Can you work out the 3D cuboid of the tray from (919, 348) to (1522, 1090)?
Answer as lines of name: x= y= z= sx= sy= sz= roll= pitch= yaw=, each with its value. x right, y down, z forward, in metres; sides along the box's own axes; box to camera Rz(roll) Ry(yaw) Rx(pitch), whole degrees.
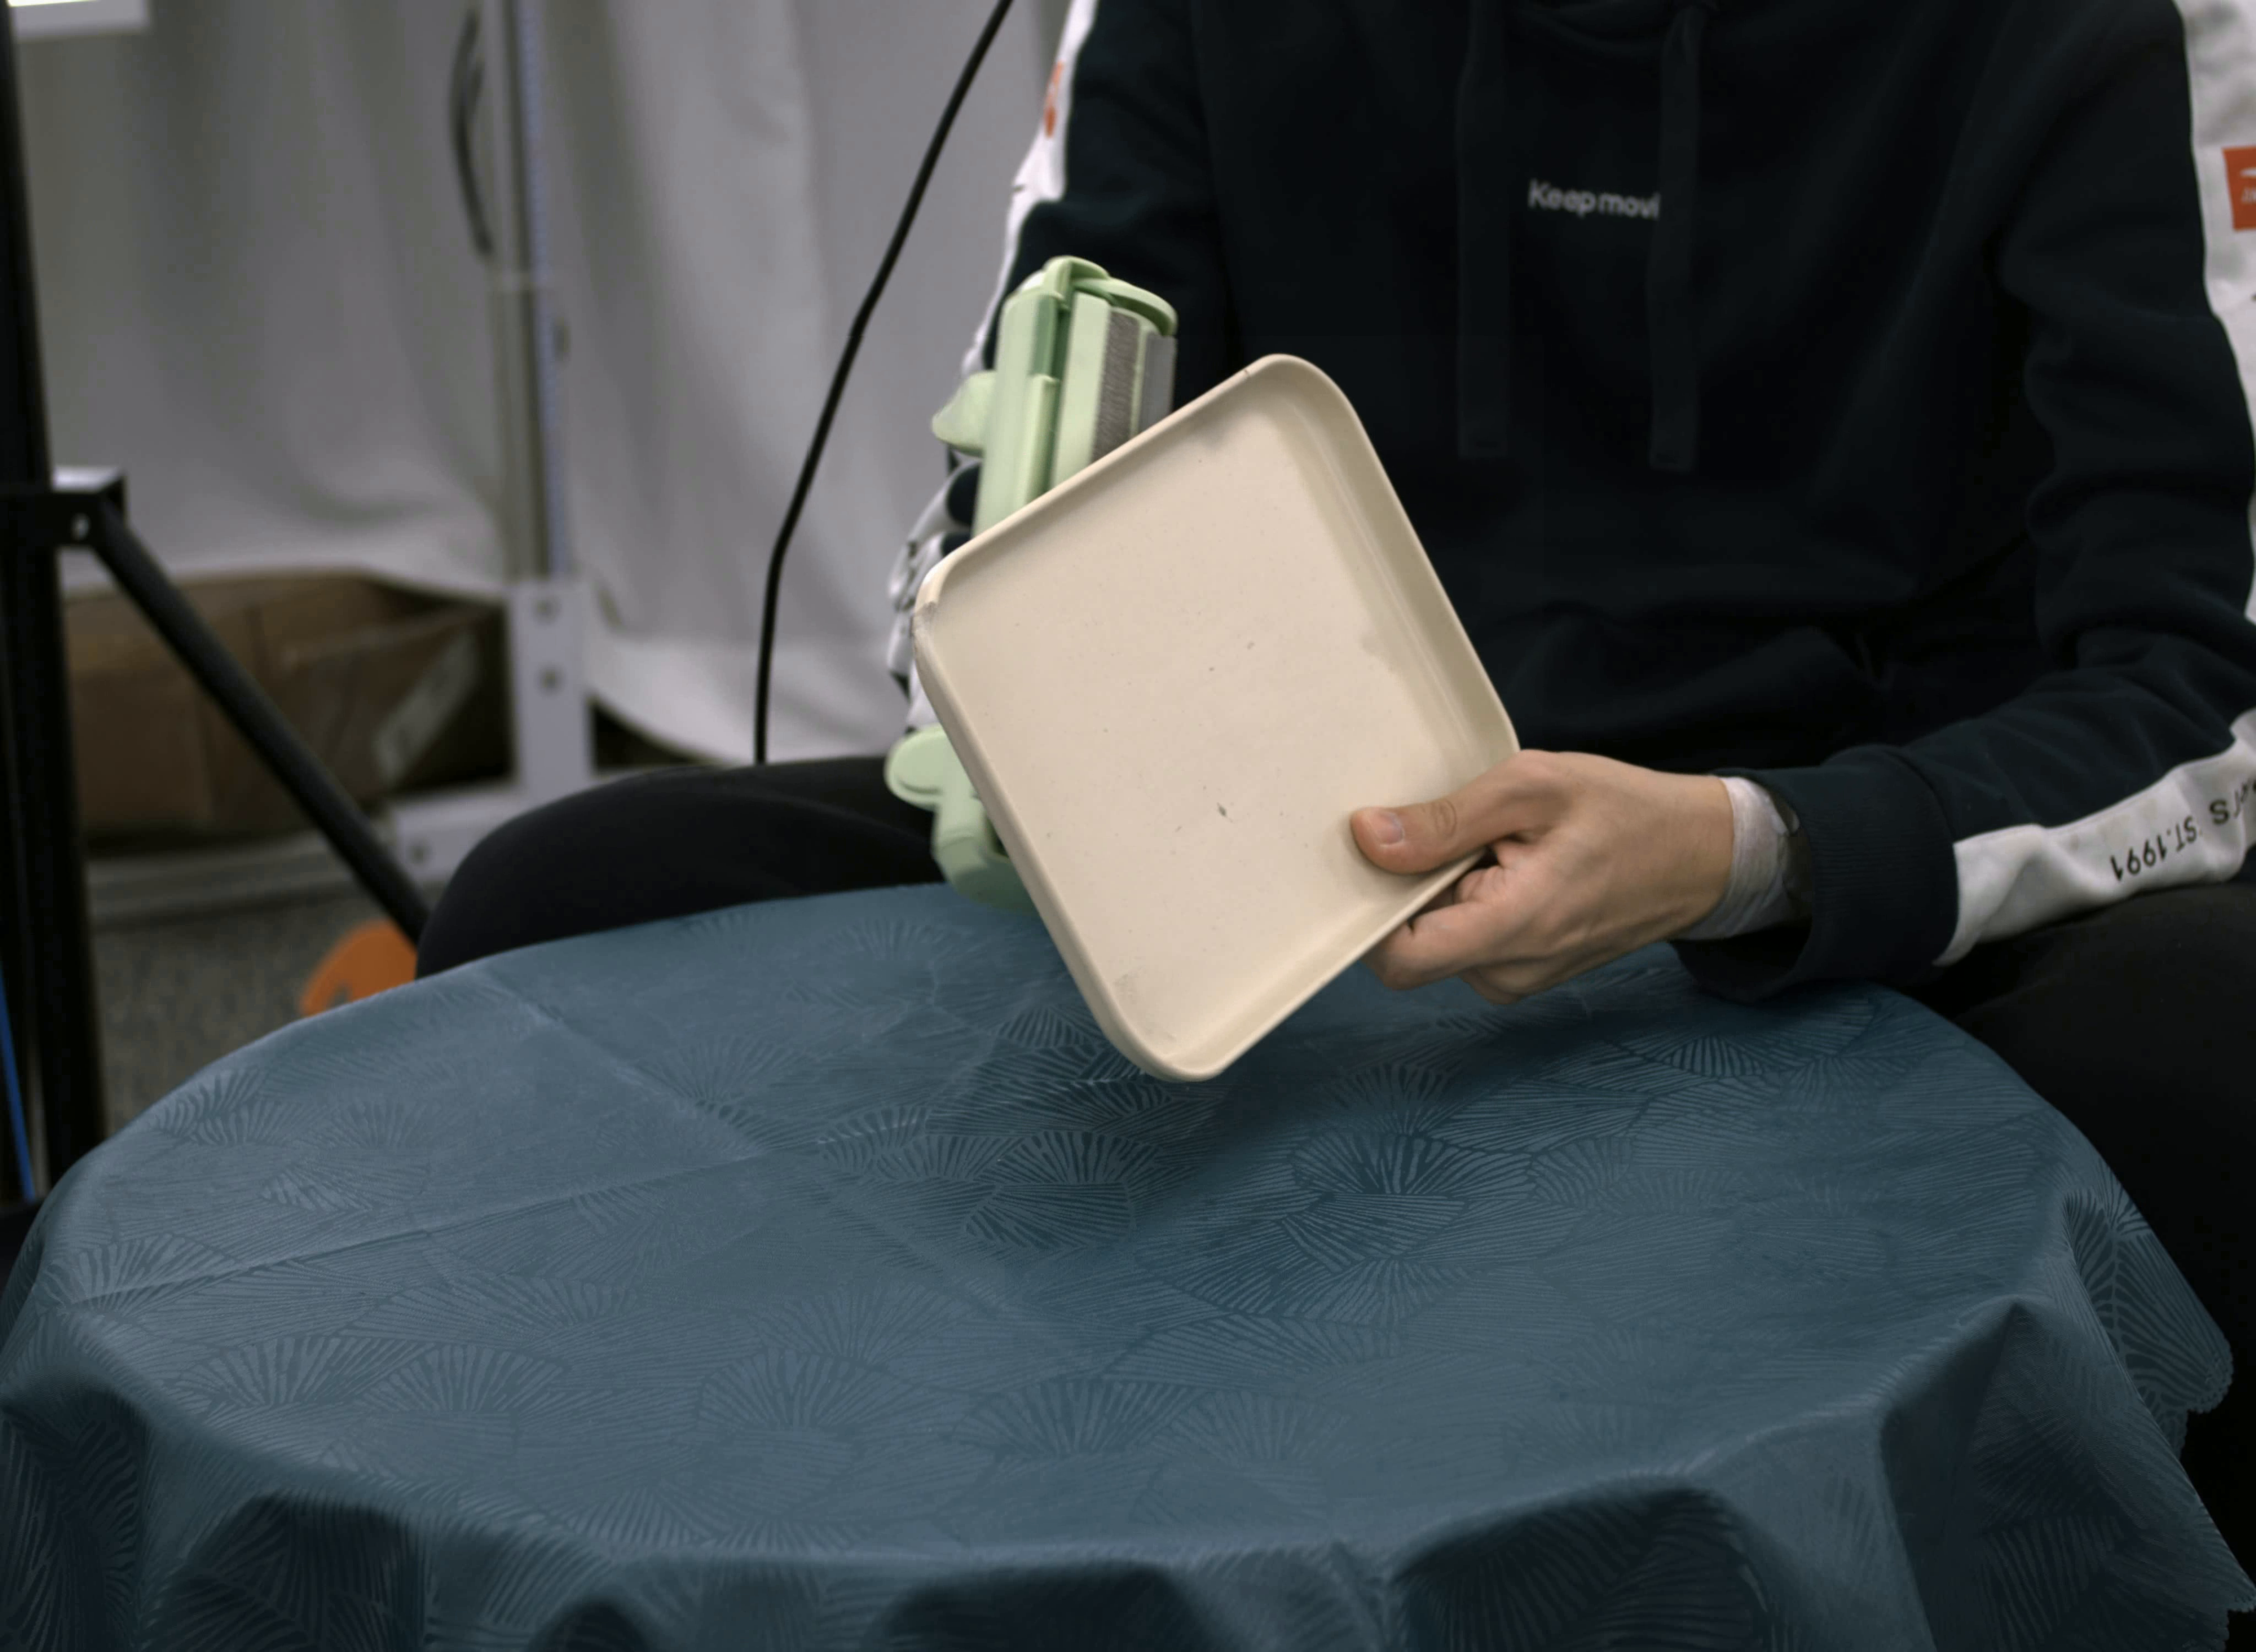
tray: x=0.030 y=-0.034 z=1.588 sx=0.018 sy=0.171 sz=0.236 roll=-22 pitch=9 yaw=39

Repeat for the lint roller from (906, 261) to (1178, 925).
lint roller: x=-0.021 y=-0.053 z=1.668 sx=0.082 sy=0.200 sz=0.182 roll=4 pitch=-18 yaw=4
